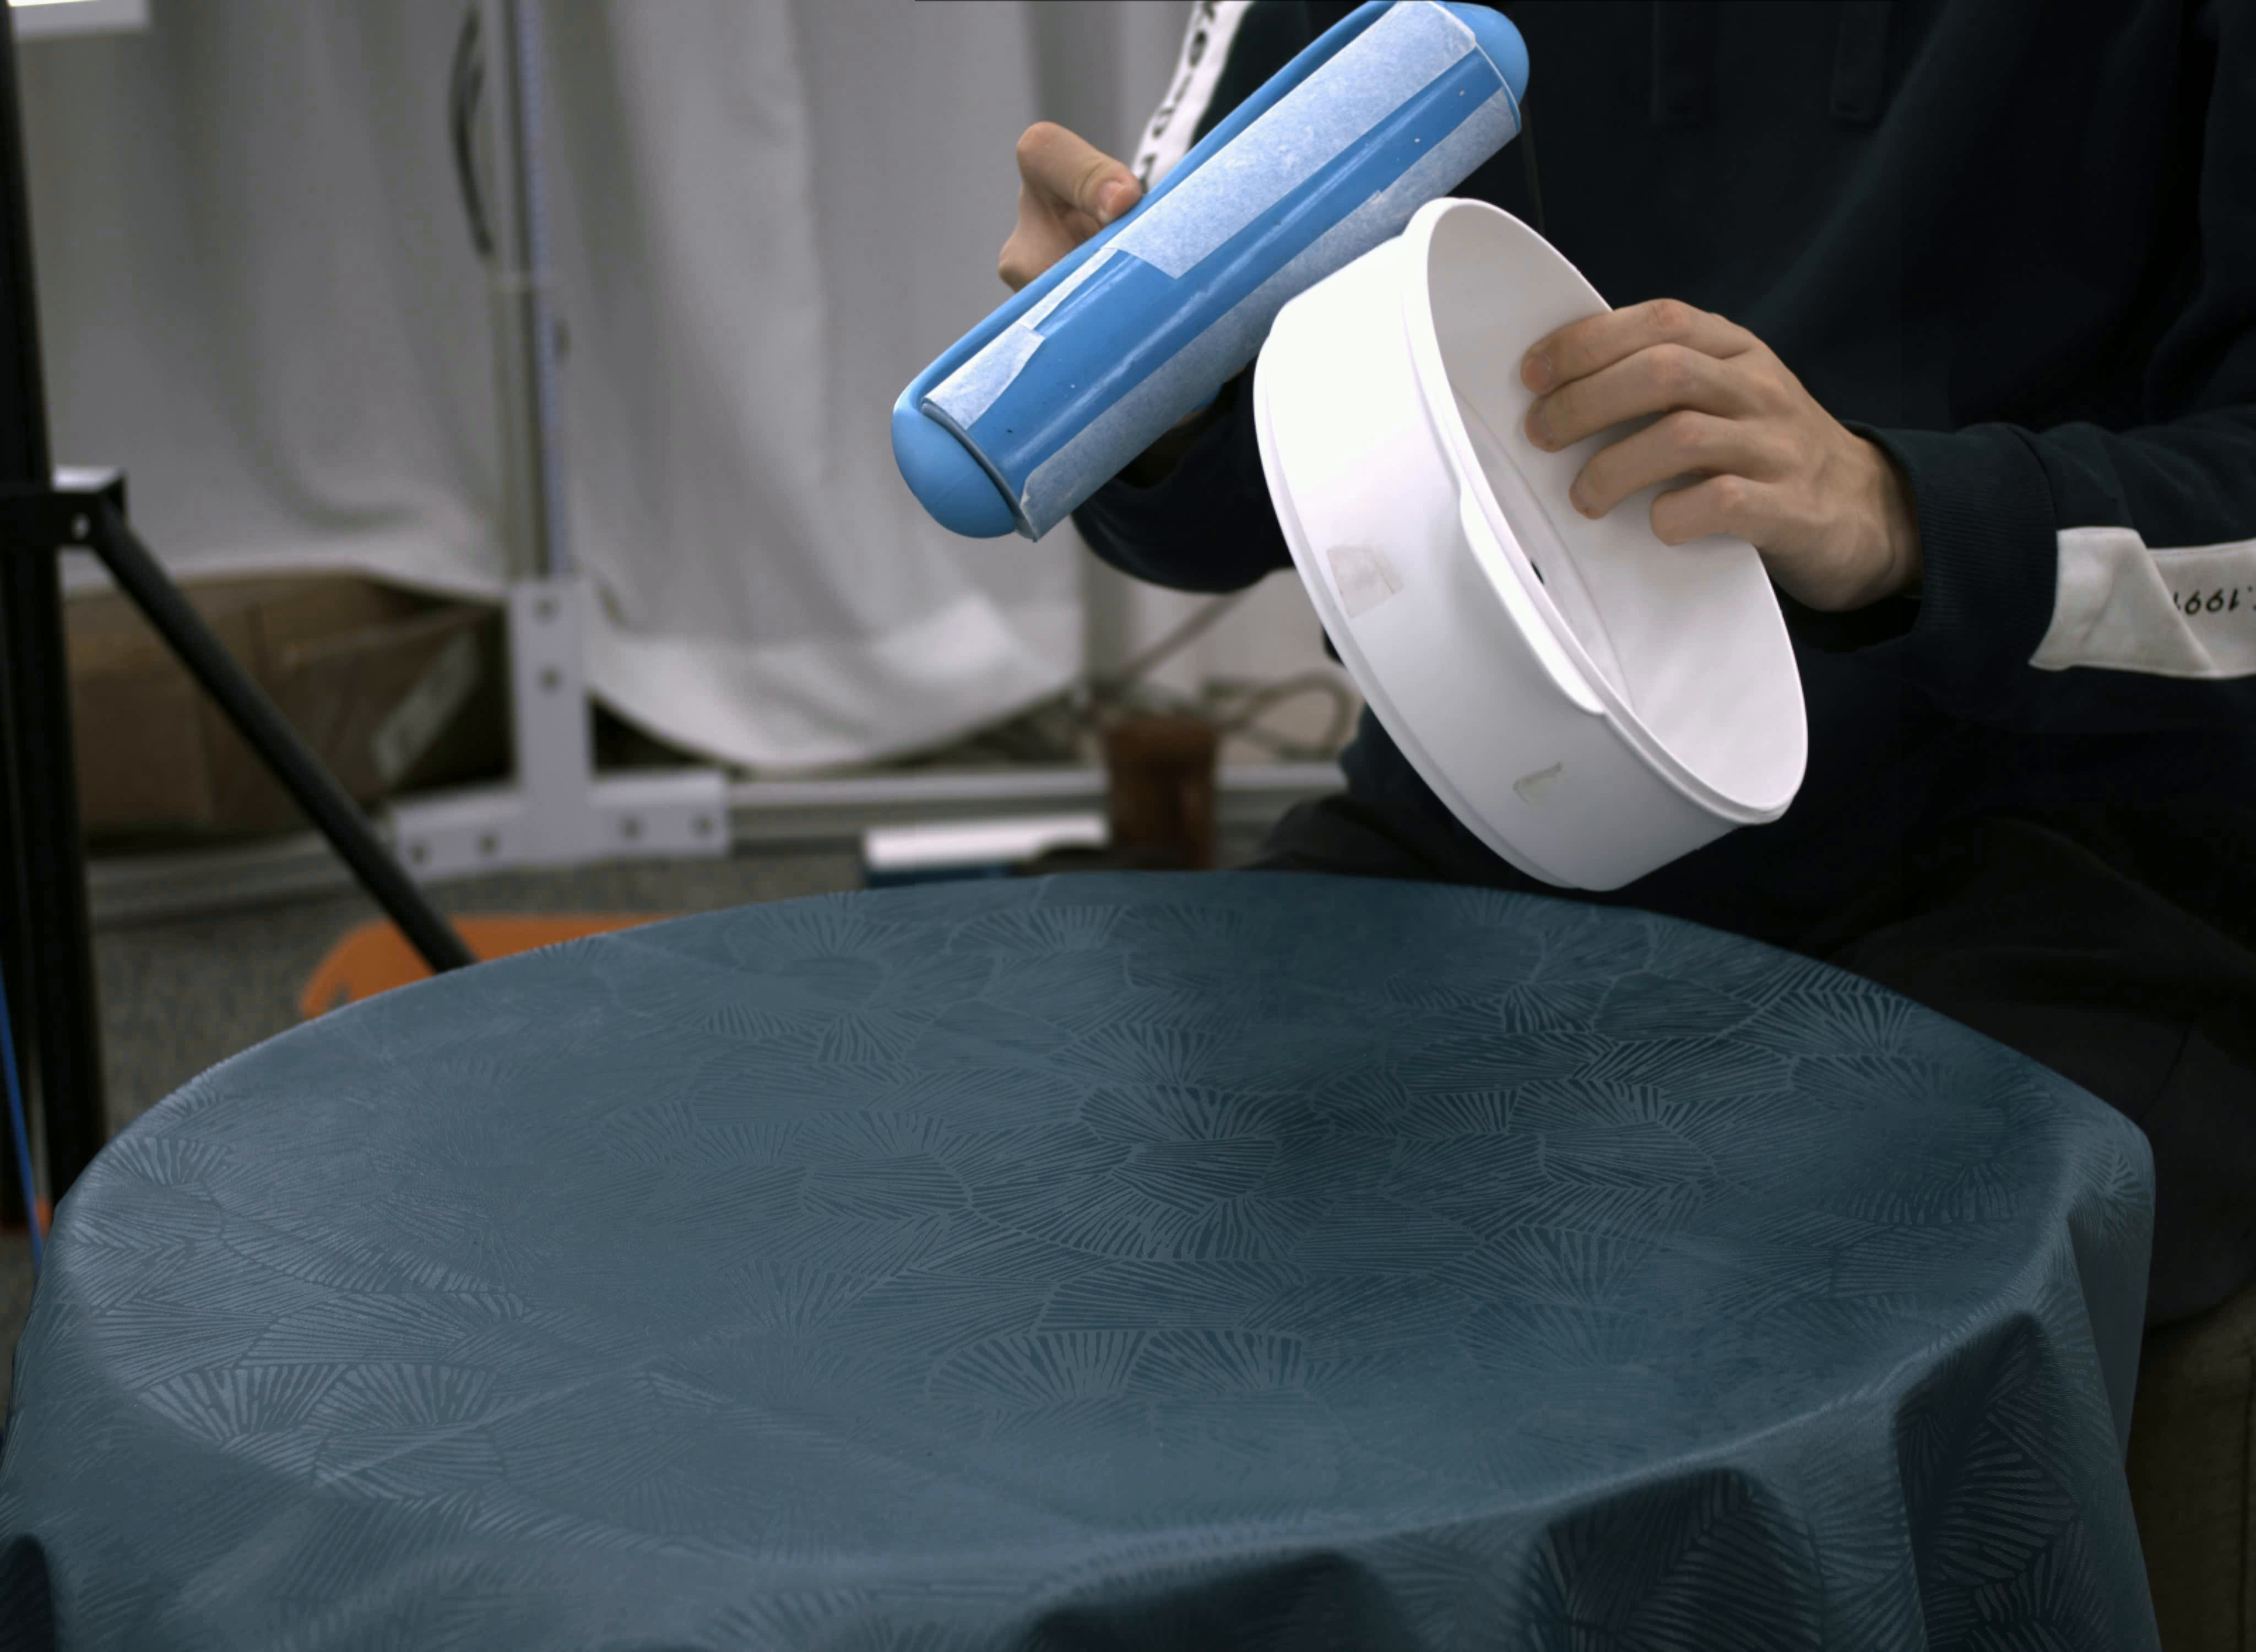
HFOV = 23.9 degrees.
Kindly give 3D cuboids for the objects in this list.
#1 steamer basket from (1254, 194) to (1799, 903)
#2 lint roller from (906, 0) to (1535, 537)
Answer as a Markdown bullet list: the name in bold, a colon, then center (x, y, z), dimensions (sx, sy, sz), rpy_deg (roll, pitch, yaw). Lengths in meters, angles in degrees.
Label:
- **steamer basket**: center (0.112, -0.075, 1.505), dimensions (0.070, 0.201, 0.228), rpy_deg (-29, 7, 23)
- **lint roller**: center (0.019, -0.161, 1.625), dimensions (0.228, 0.068, 0.181), rpy_deg (-43, 3, -12)
